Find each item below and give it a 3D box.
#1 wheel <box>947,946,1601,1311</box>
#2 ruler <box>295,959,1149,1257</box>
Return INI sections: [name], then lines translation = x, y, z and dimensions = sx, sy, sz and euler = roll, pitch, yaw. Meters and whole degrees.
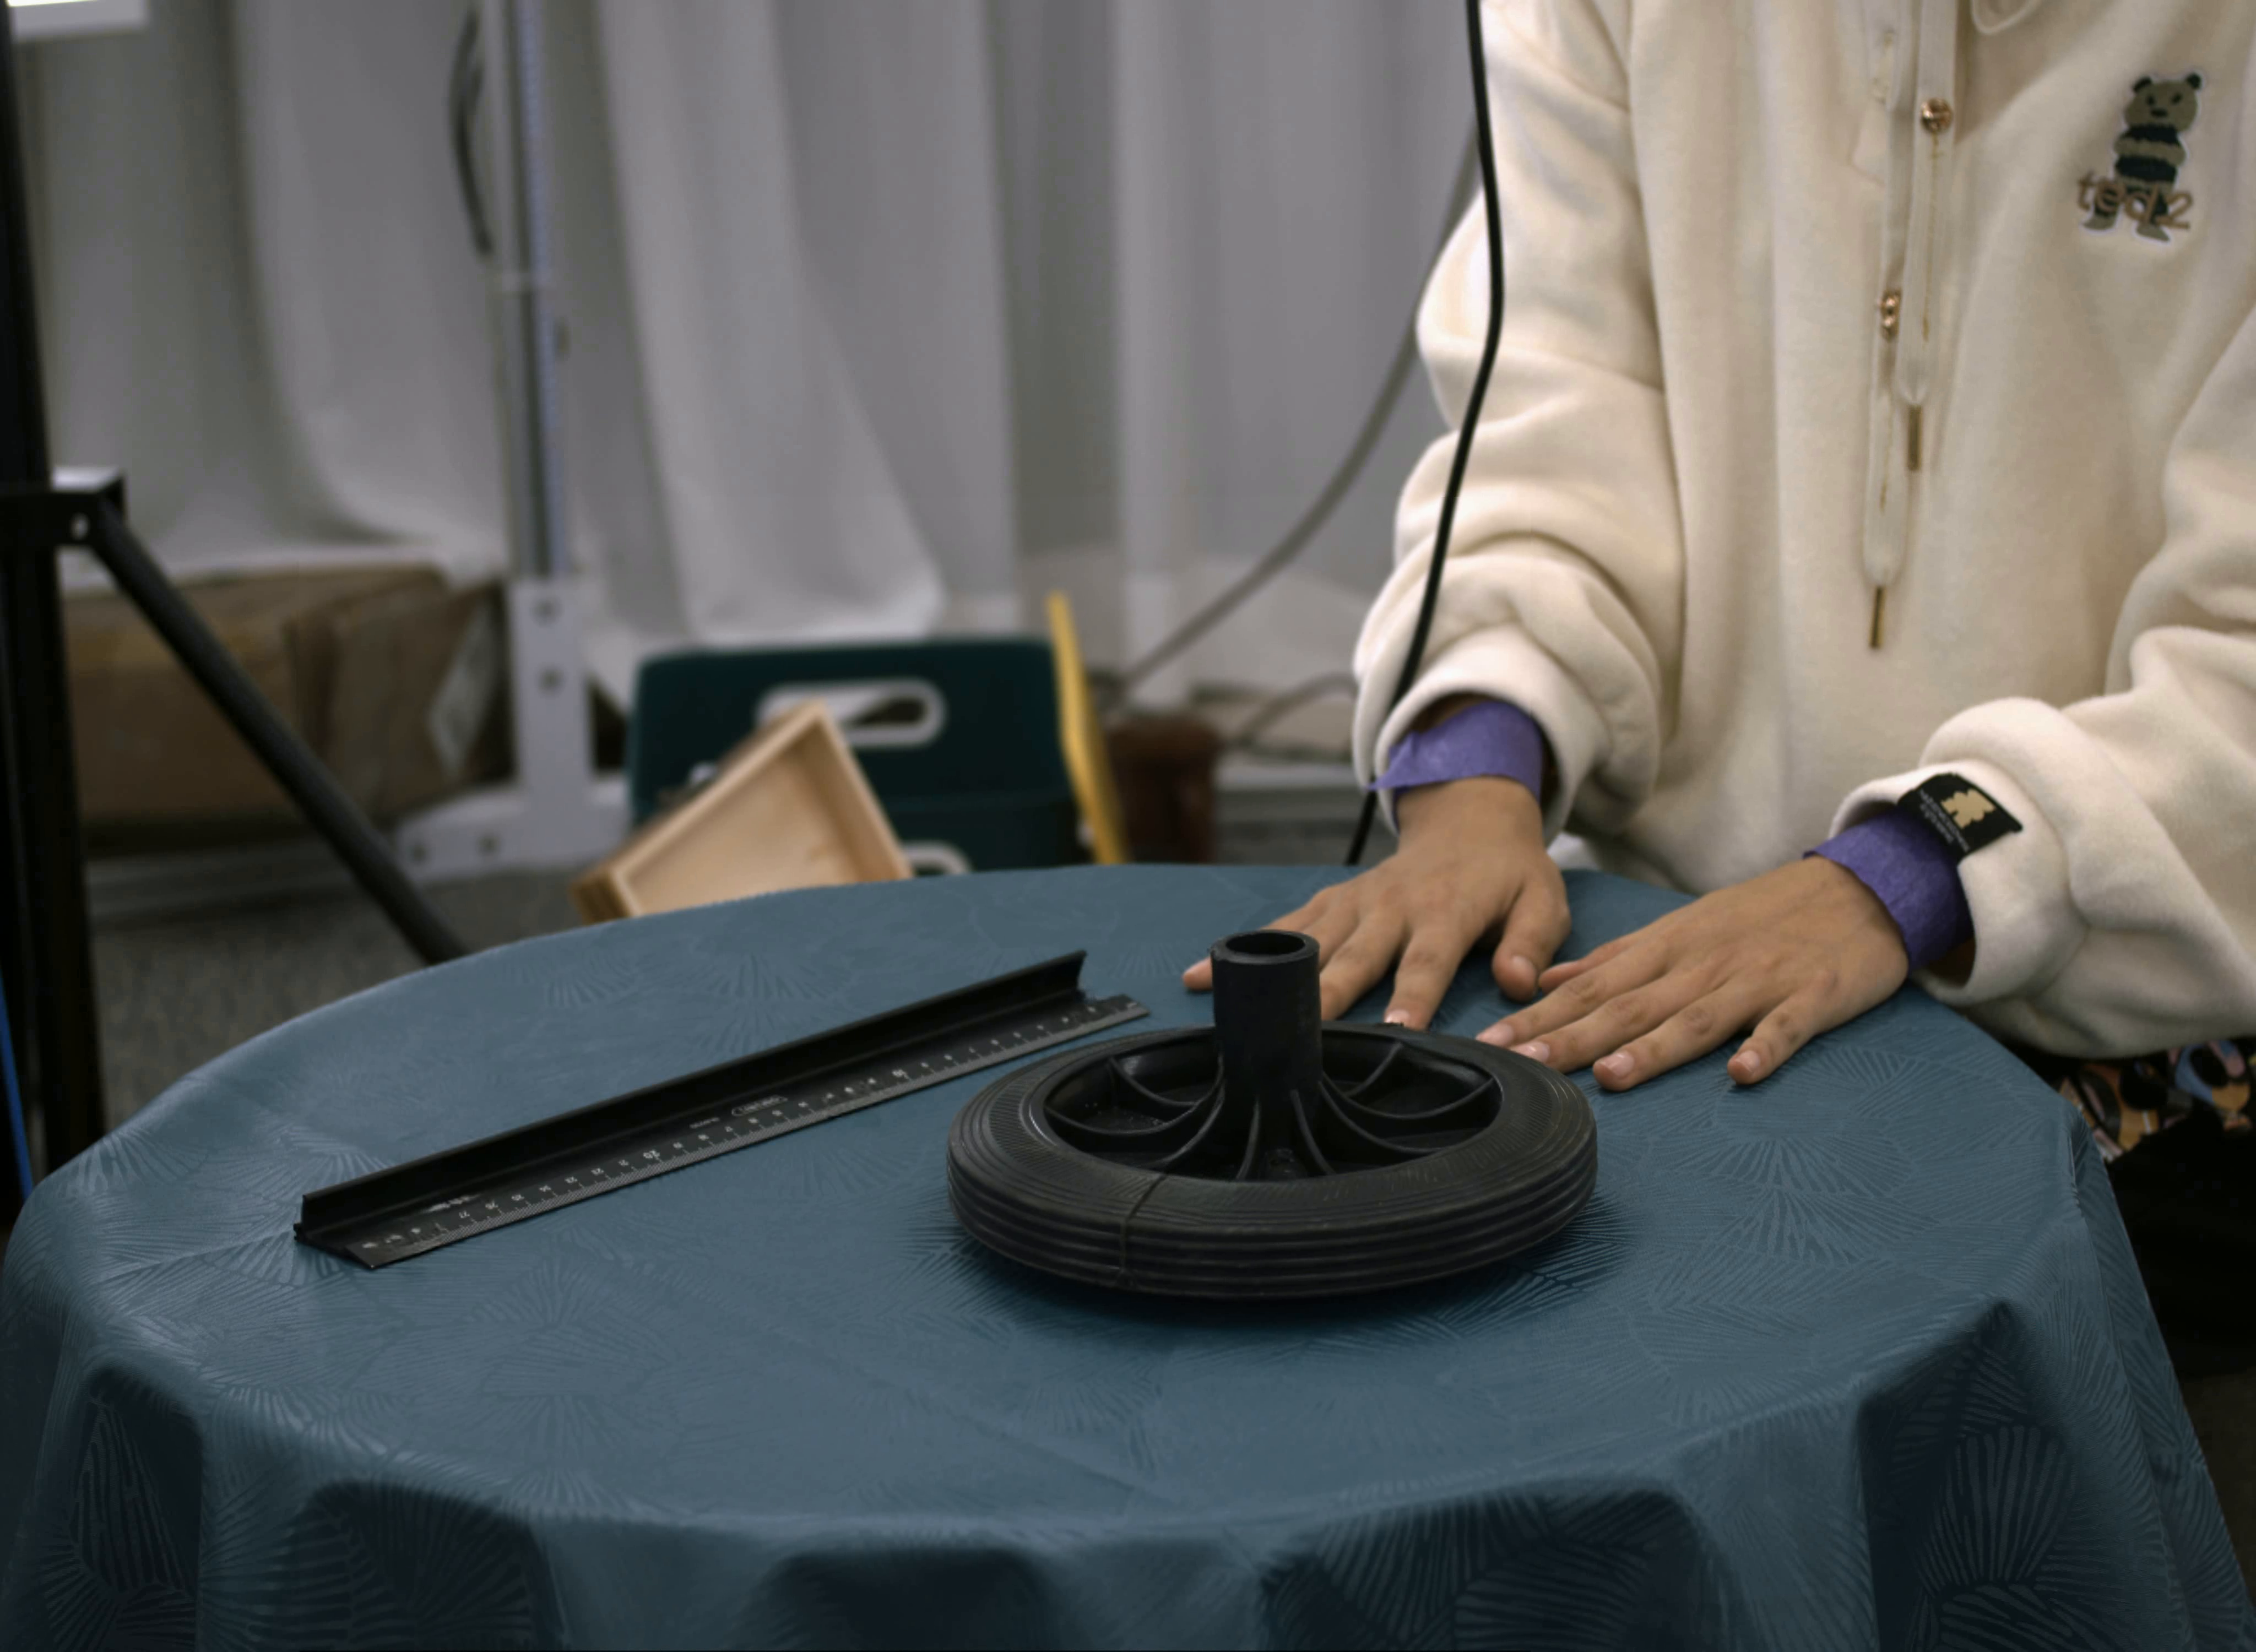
[wheel]
translation = 0.041, 0.077, 1.521
dimensions = 0.183, 0.079, 0.194
euler = -10, 18, -24
[ruler]
translation = -0.117, 0.084, 1.634
dimensions = 0.305, 0.017, 0.040
euler = -15, 24, -39
